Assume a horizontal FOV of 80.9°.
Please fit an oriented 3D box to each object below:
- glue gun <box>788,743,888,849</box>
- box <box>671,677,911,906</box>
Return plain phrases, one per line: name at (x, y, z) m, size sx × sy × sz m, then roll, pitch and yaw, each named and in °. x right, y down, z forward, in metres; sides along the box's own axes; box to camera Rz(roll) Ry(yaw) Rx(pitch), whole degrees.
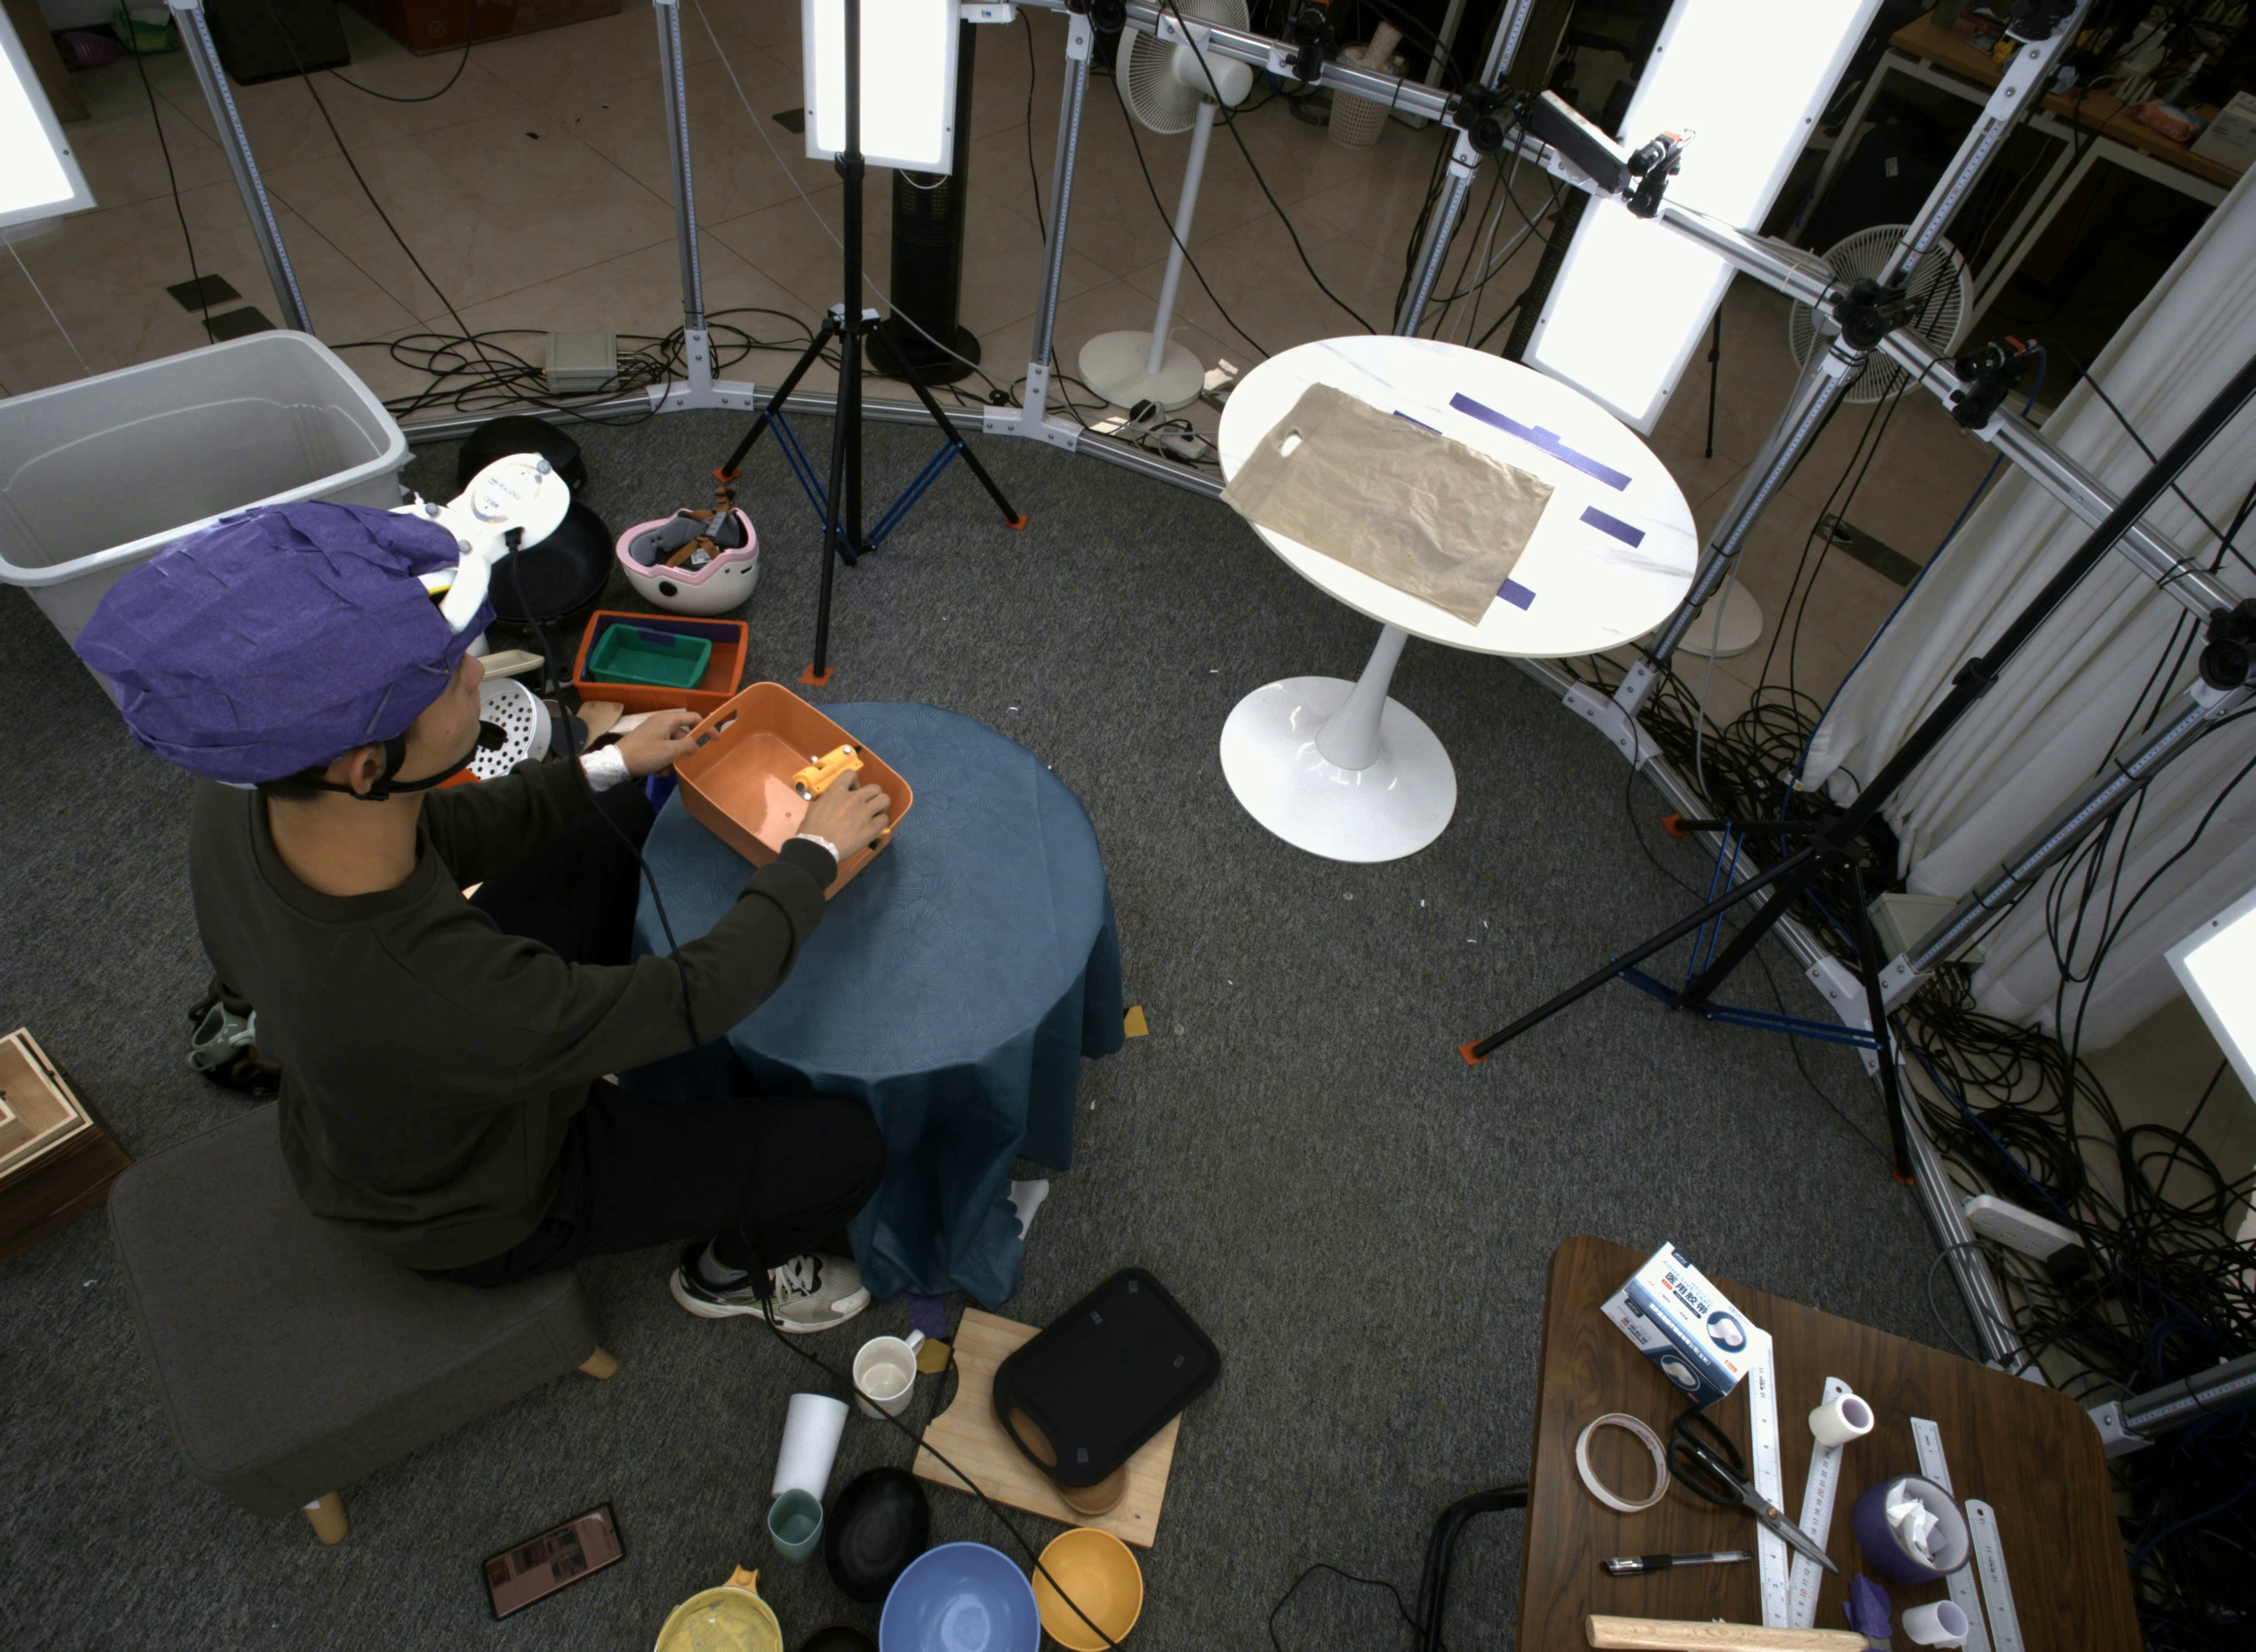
glue gun at (-0.336, -0.048, 1.615) m, size 0.134 × 0.031 × 0.150 m, roll 41°, pitch 29°, yaw -8°
box at (-0.434, -0.039, 1.659) m, size 0.272 × 0.103 × 0.199 m, roll 37°, pitch 55°, yaw 2°
